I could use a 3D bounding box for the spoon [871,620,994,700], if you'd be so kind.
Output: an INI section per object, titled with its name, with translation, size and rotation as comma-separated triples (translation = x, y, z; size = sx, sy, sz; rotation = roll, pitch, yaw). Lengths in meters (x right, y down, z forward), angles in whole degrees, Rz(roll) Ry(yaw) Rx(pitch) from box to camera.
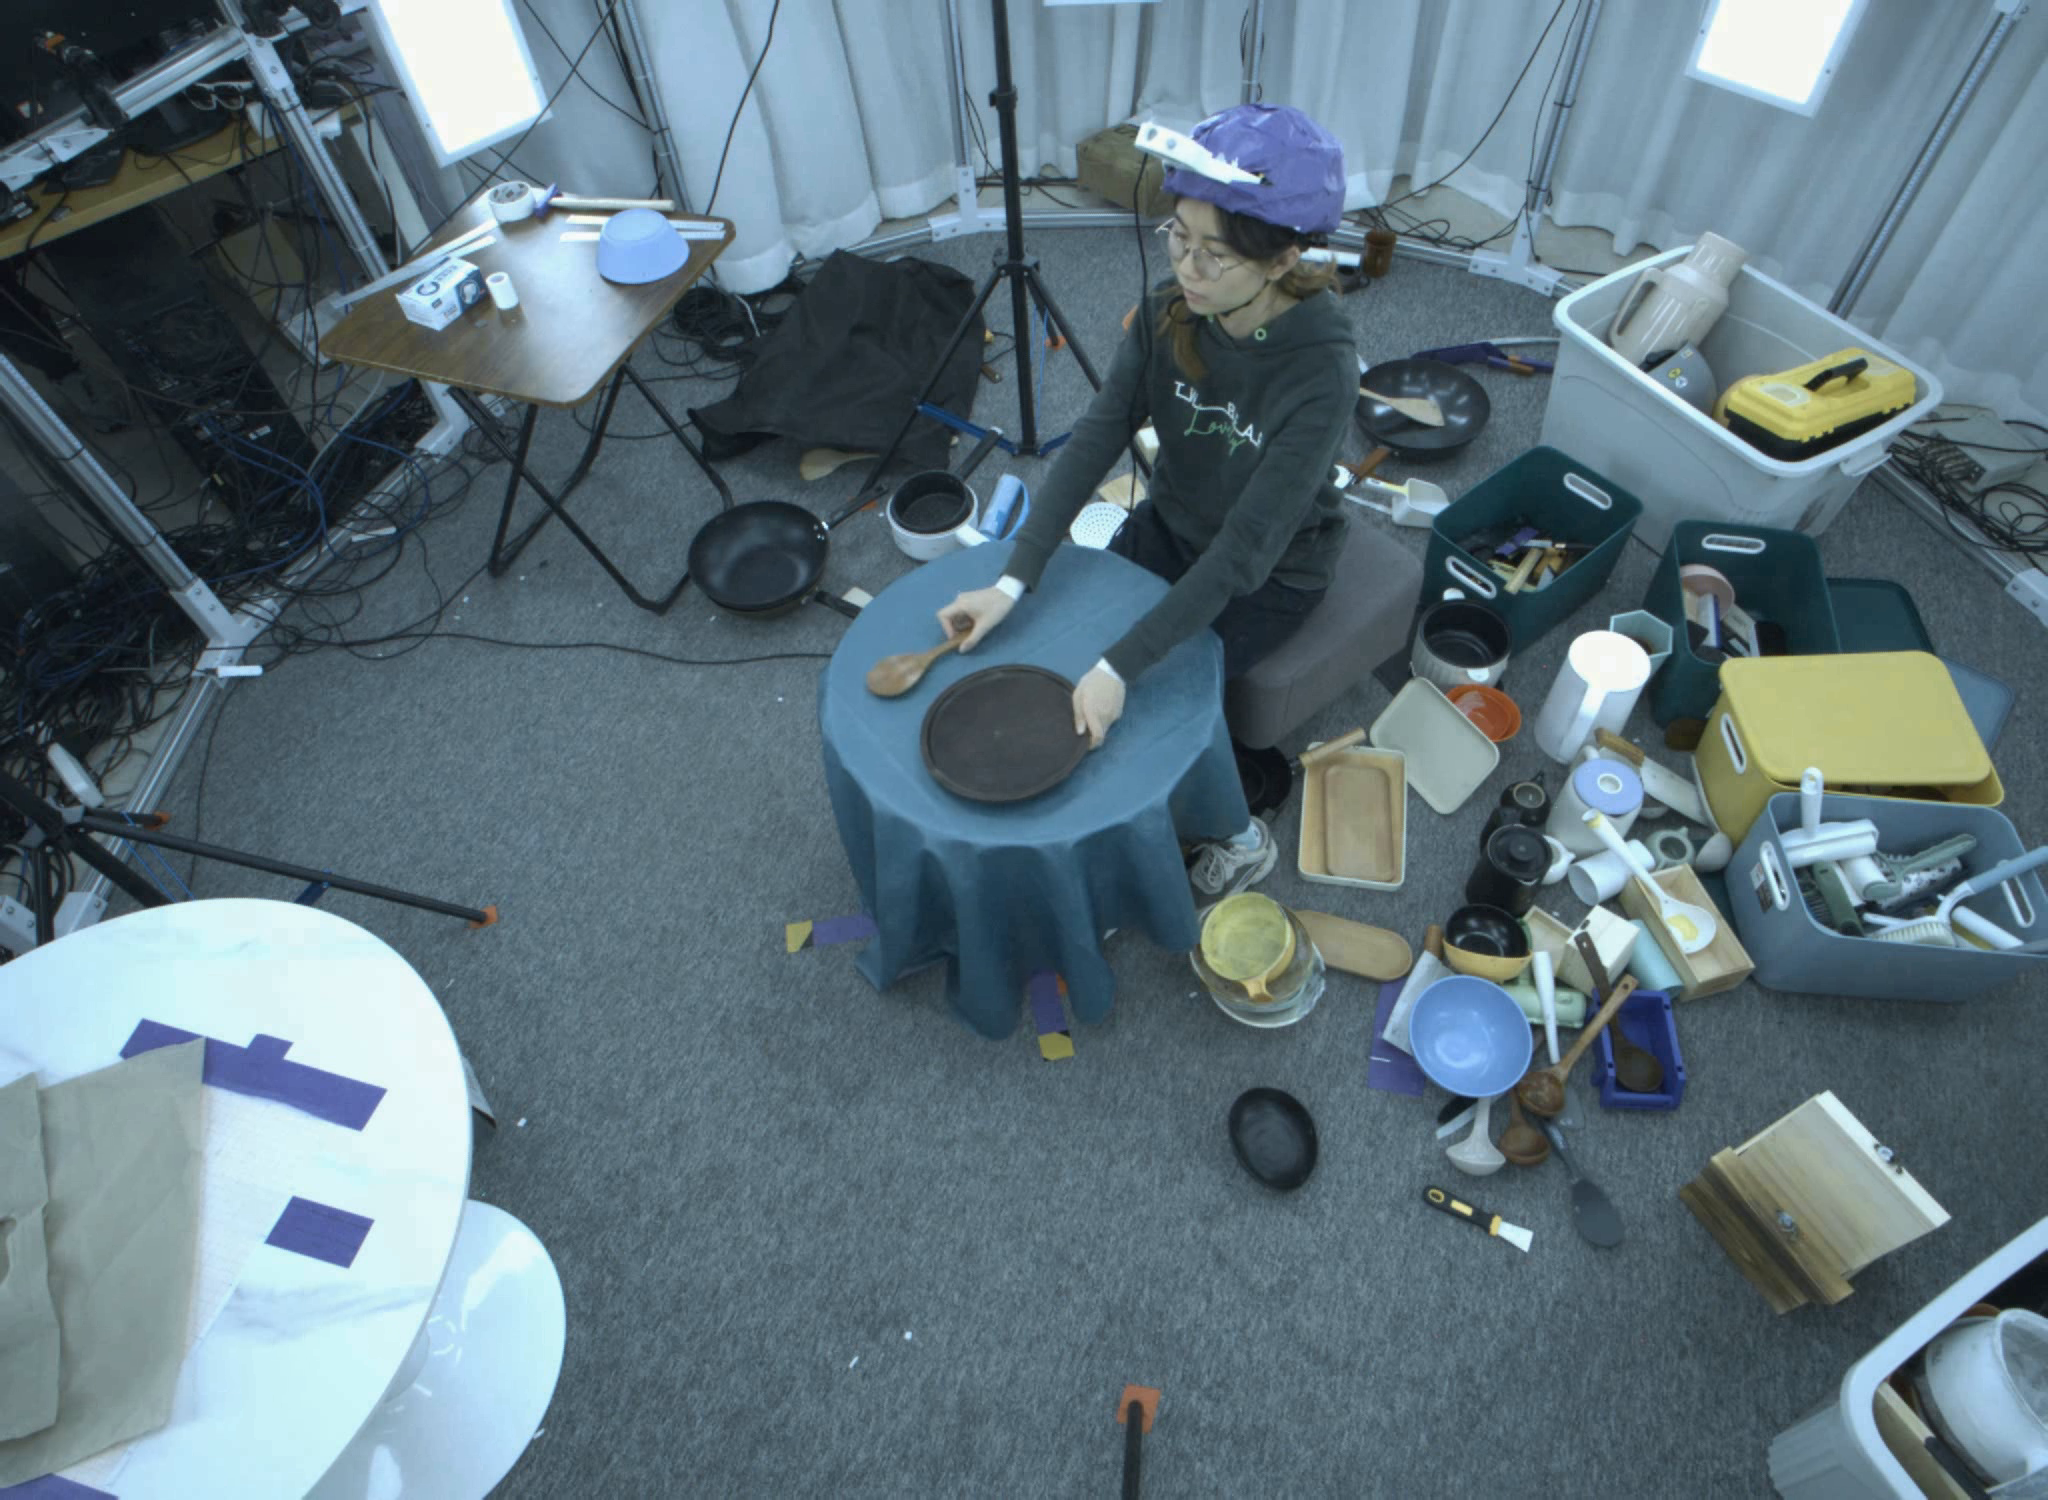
[spoon]
translation = -0.139, -0.140, 1.884
size = 0.217, 0.017, 0.074
rotation = -32, 57, -15

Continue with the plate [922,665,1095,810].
[plate]
translation = -0.023, -0.018, 1.788
size = 0.254, 0.029, 0.252
rotation = -3, 55, 5
